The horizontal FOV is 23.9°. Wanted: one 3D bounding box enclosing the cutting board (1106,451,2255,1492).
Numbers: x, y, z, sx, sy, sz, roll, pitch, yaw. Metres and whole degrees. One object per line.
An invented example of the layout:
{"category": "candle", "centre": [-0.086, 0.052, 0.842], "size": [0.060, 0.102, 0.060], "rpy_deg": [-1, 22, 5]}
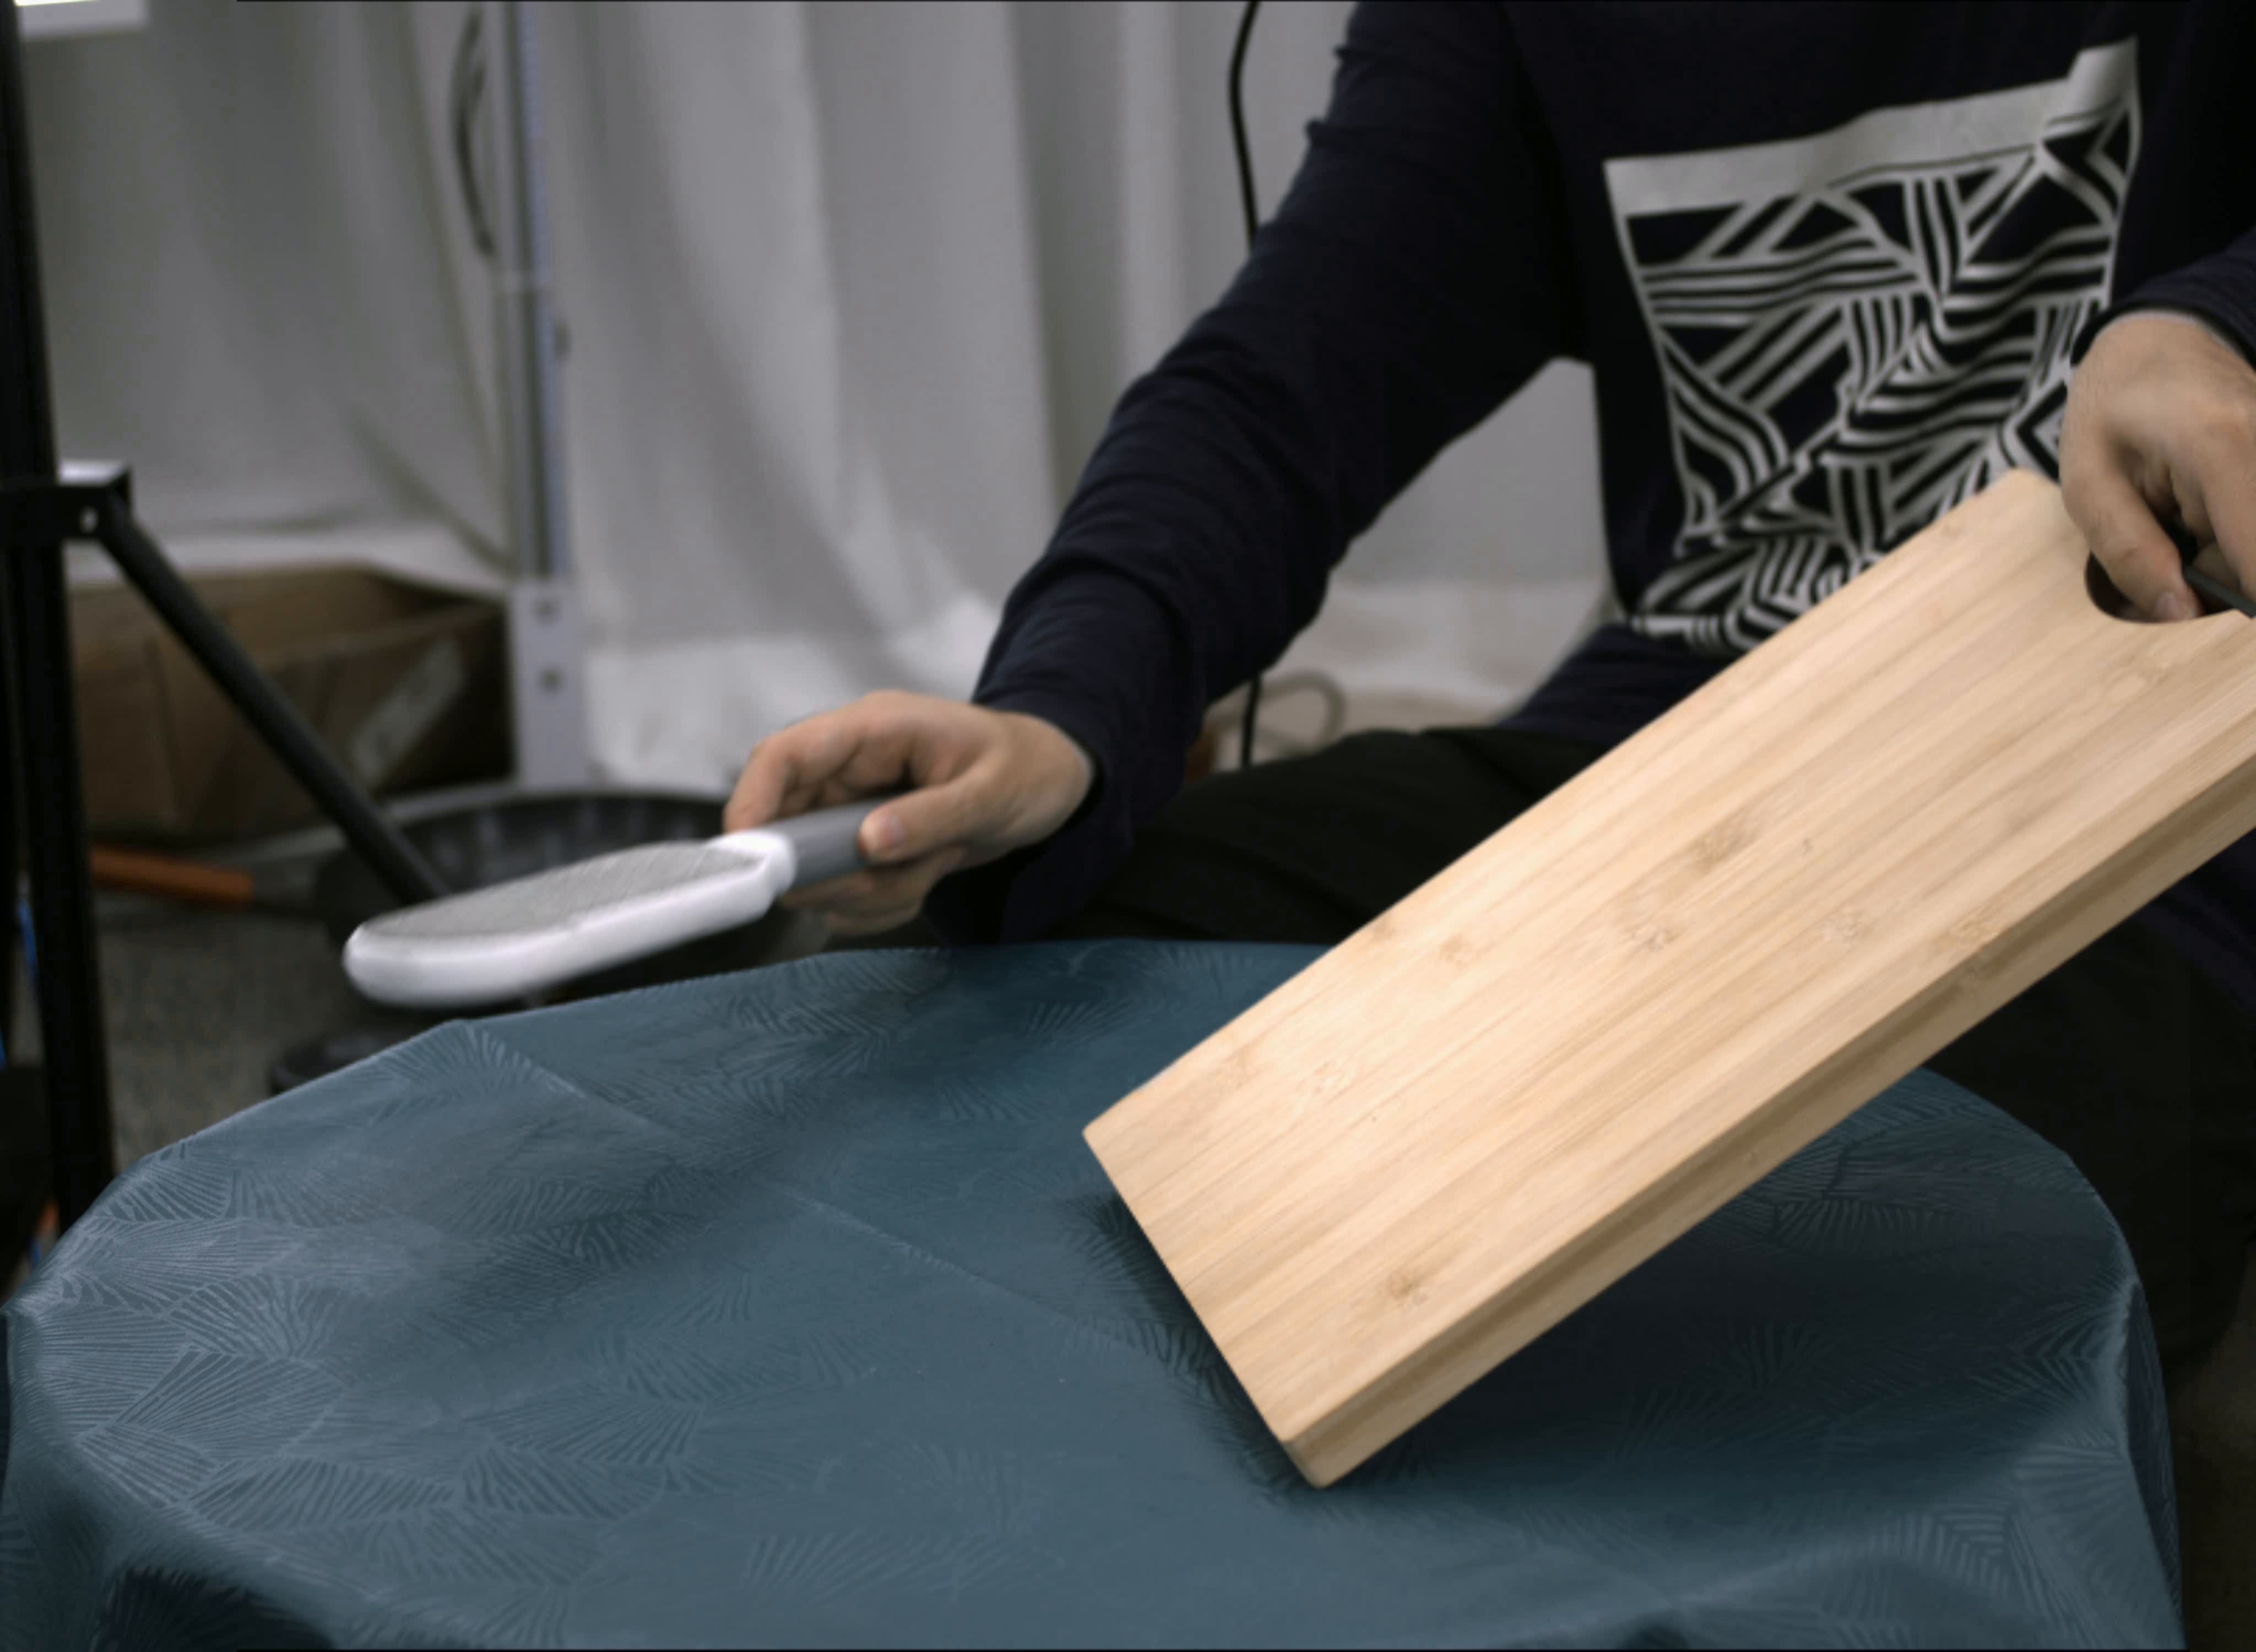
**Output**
{"category": "cutting board", "centre": [0.161, 0.030, 1.446], "size": [0.348, 0.023, 0.254], "rpy_deg": [-36, 21, -1]}

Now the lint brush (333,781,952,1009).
{"category": "lint brush", "centre": [-0.136, 0.018, 1.620], "size": [0.061, 0.021, 0.303], "rpy_deg": [1, 10, 29]}
